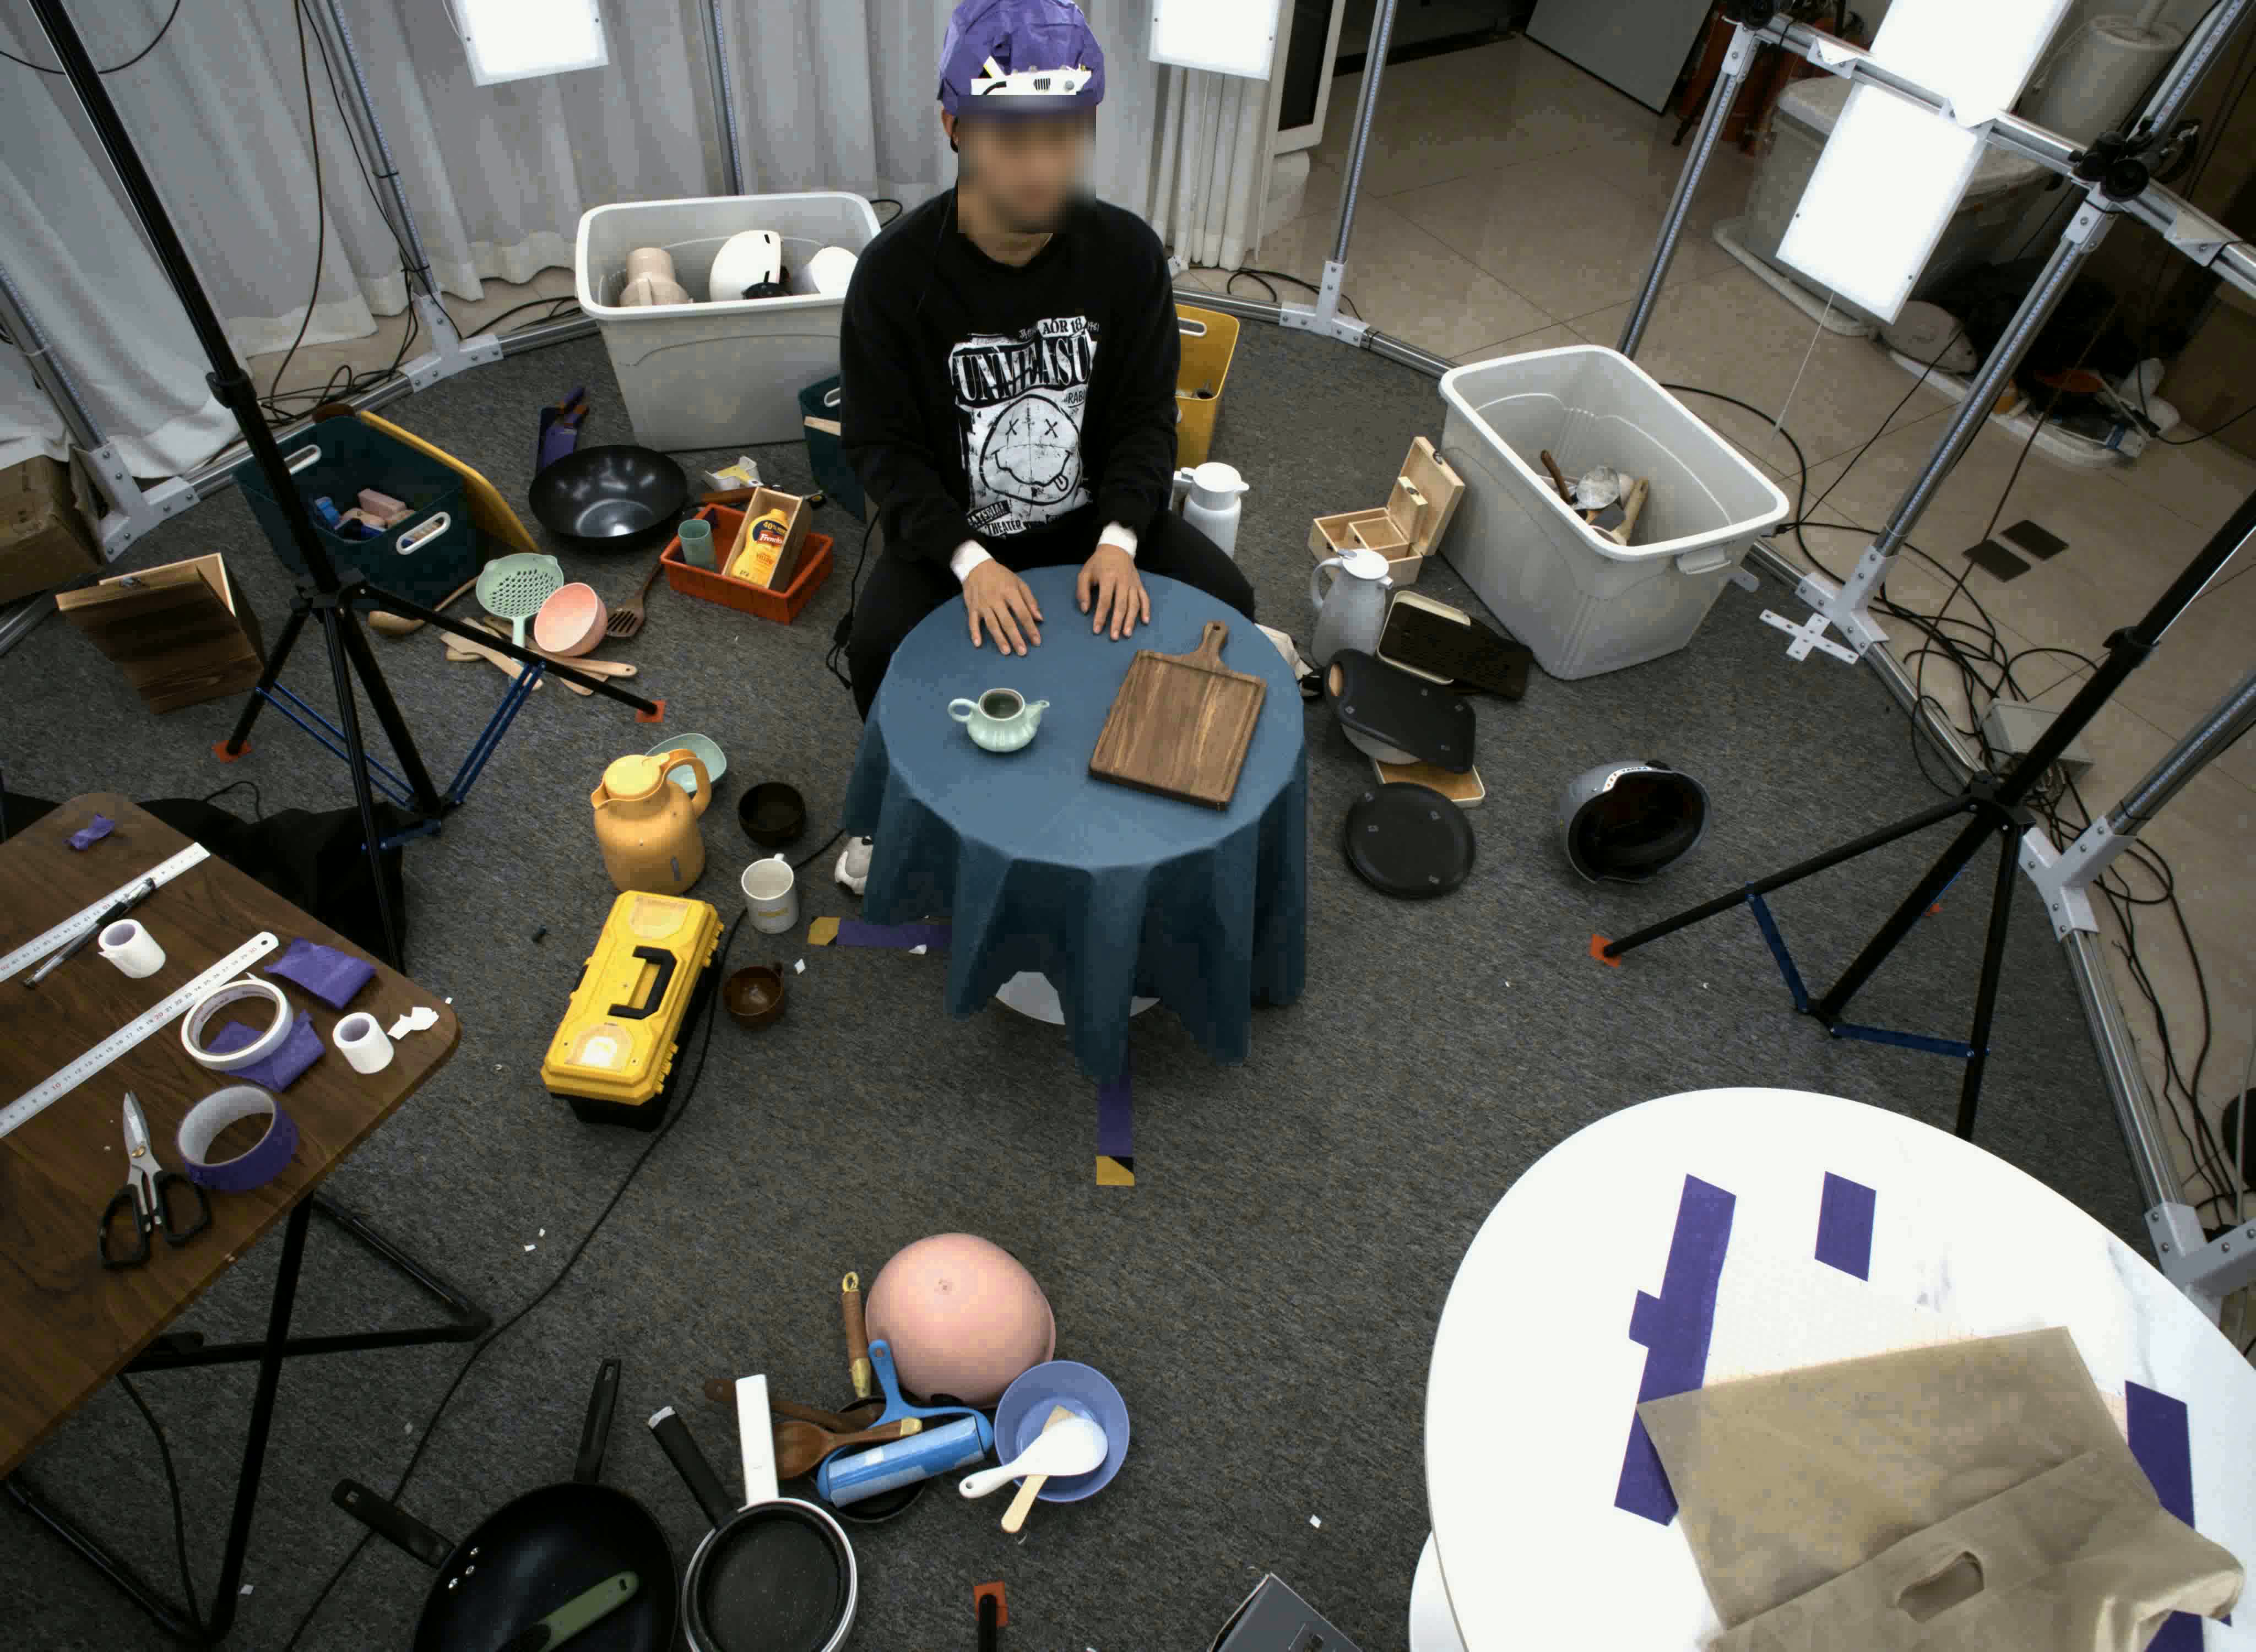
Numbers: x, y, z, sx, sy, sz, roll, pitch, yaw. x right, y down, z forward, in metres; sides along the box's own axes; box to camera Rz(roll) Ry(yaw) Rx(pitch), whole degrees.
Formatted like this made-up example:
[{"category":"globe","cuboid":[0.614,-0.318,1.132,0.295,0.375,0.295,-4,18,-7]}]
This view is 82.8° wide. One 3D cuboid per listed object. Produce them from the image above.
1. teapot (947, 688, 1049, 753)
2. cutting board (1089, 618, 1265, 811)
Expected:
[{"category":"teapot","cuboid":[-0.176,-0.148,1.748,0.137,0.060,0.098,-1,50,-5]},{"category":"cutting board","cuboid":[0.085,-0.175,1.812,0.201,0.022,0.360,14,50,8]}]
